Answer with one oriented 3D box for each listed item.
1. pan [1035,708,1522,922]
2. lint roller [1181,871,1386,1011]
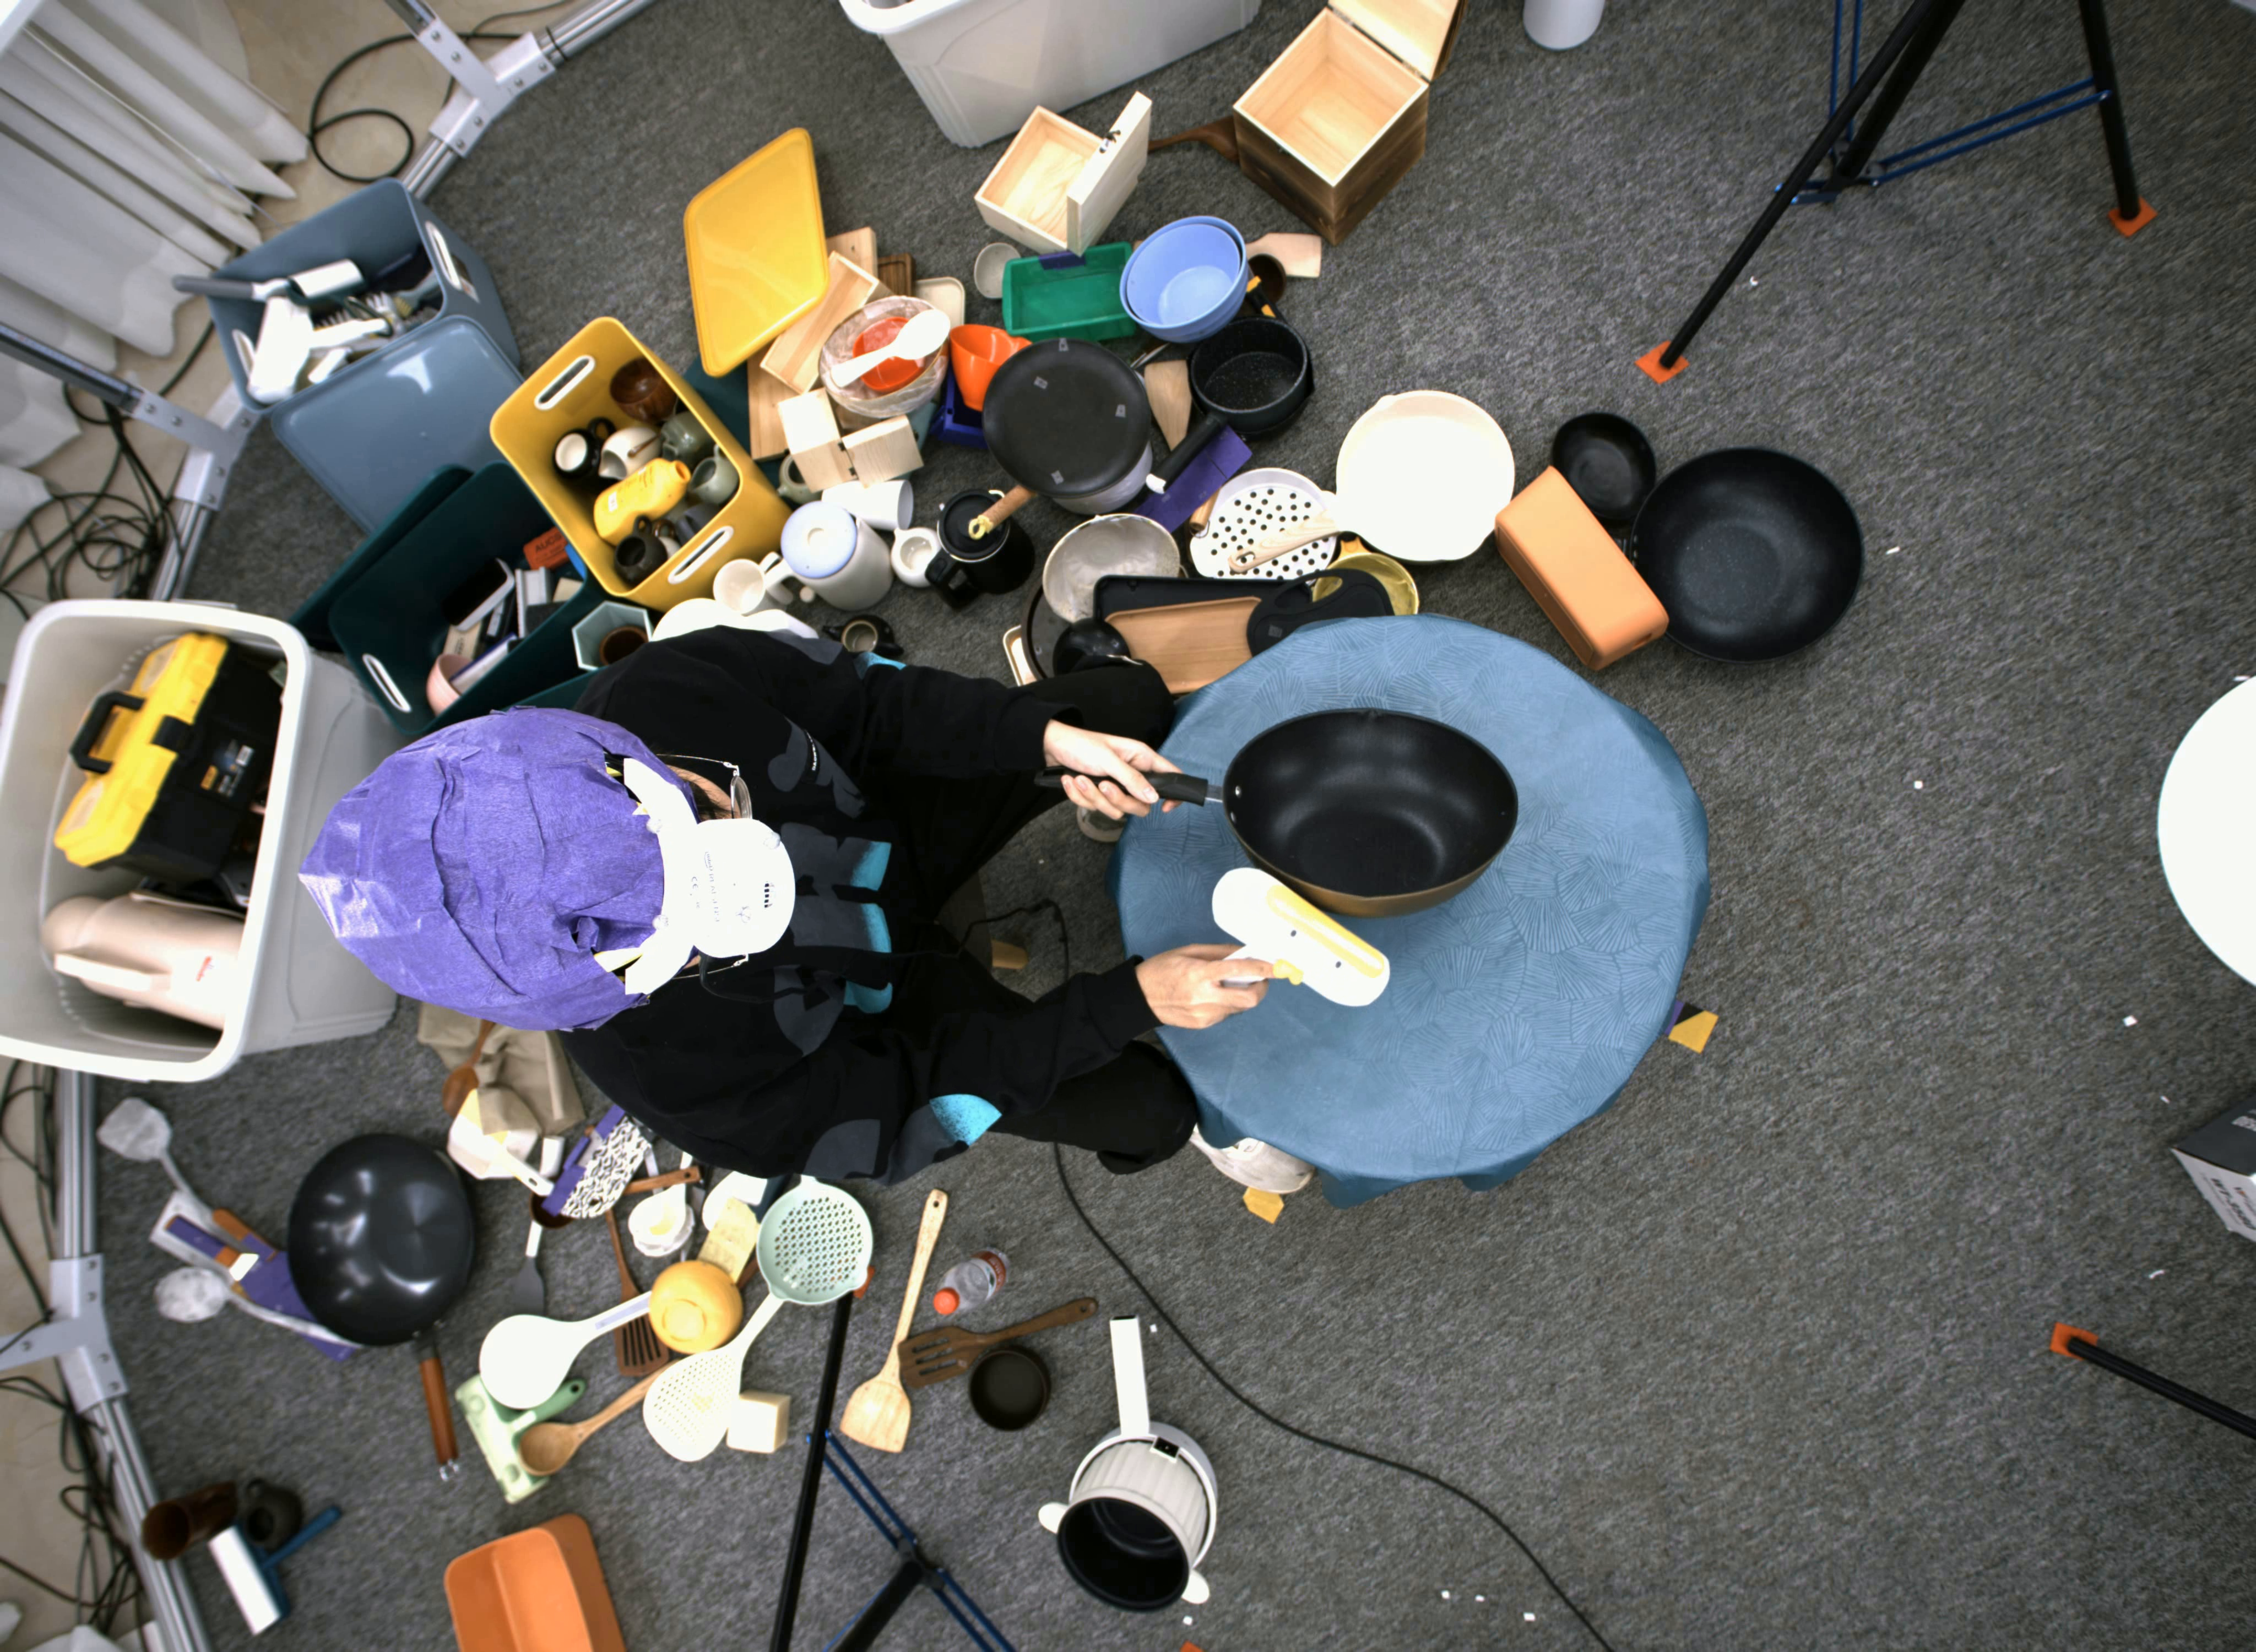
[{"bbox_3d":[0.139,-0.007,1.336,0.465,0.089,0.280,4,43,10],"label":"pan"},{"bbox_3d":[0.119,0.125,1.302,0.194,0.196,0.072,27,59,-24],"label":"lint roller"}]
